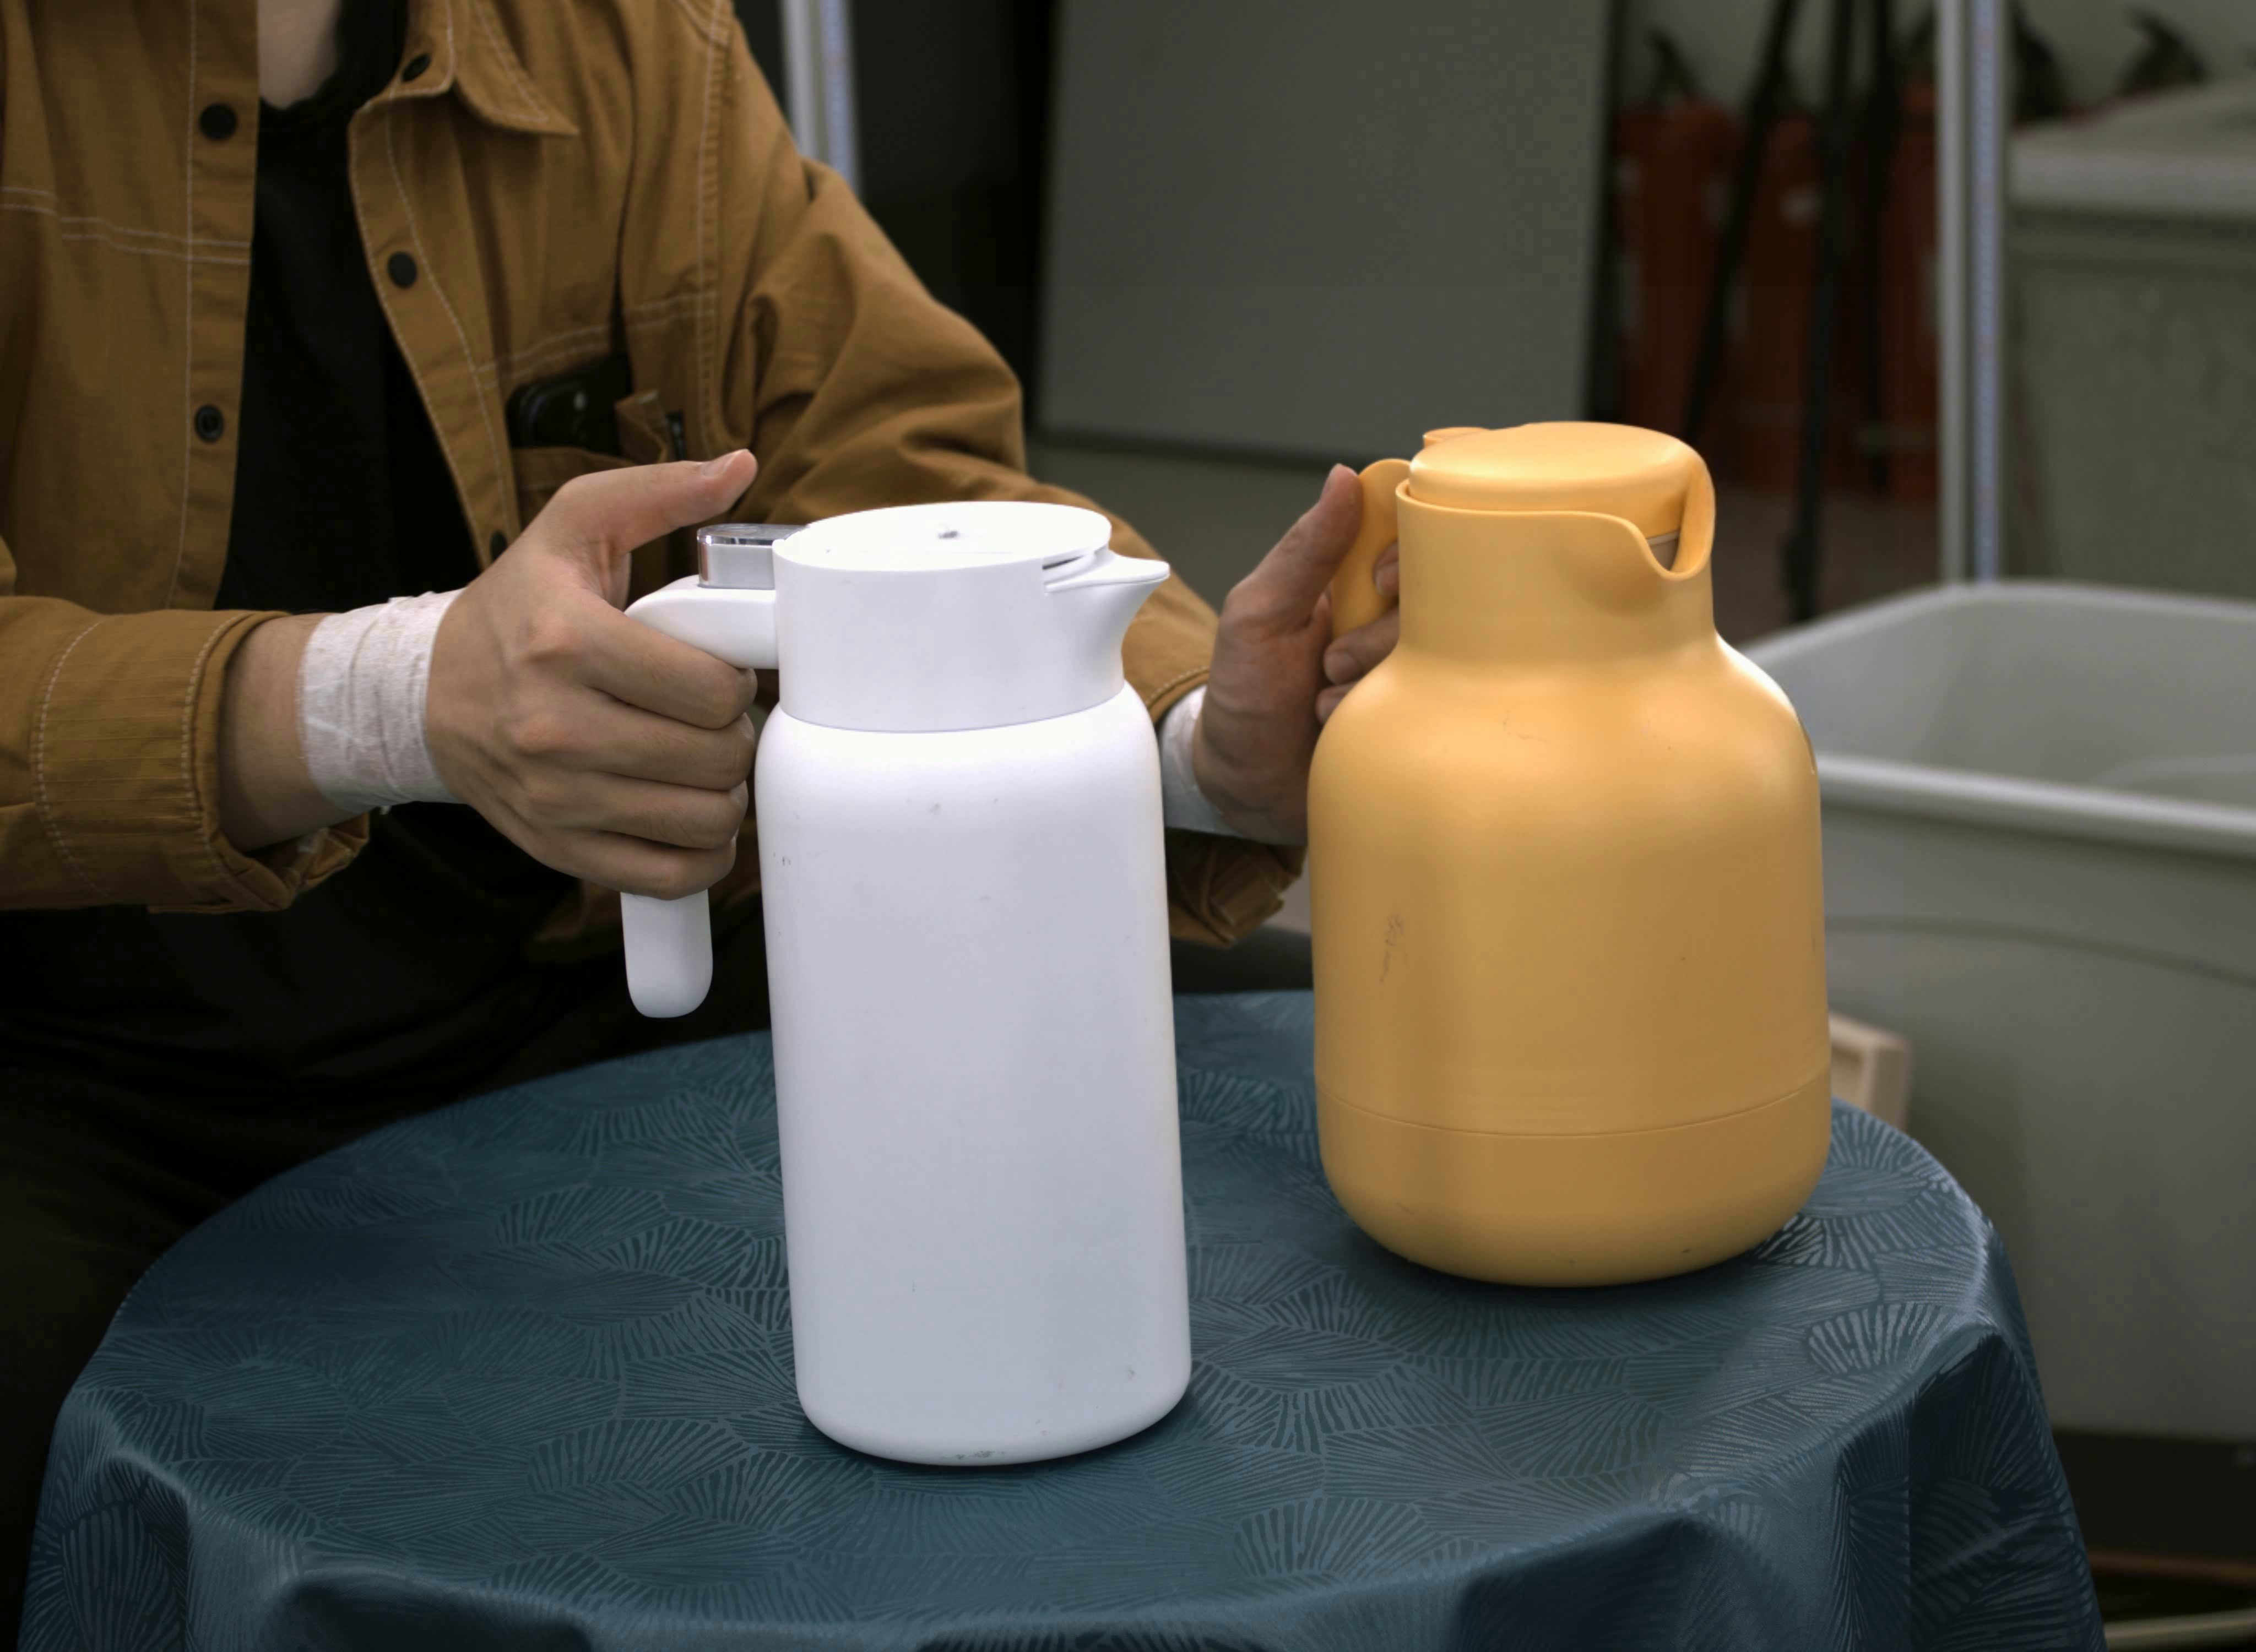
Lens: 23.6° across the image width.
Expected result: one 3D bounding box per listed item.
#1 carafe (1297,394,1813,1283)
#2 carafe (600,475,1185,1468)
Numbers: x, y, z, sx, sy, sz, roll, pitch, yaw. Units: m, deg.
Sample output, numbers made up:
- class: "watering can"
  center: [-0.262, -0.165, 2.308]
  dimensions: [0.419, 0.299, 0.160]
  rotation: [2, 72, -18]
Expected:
- class: "carafe"
  center: [0.125, -0.004, 1.688]
  dimensions: [0.160, 0.263, 0.204]
  rotation: [-7, 15, -23]
- class: "carafe"
  center: [-0.064, 0.041, 1.557]
  dimensions: [0.172, 0.272, 0.122]
  rotation: [1, 16, 21]
